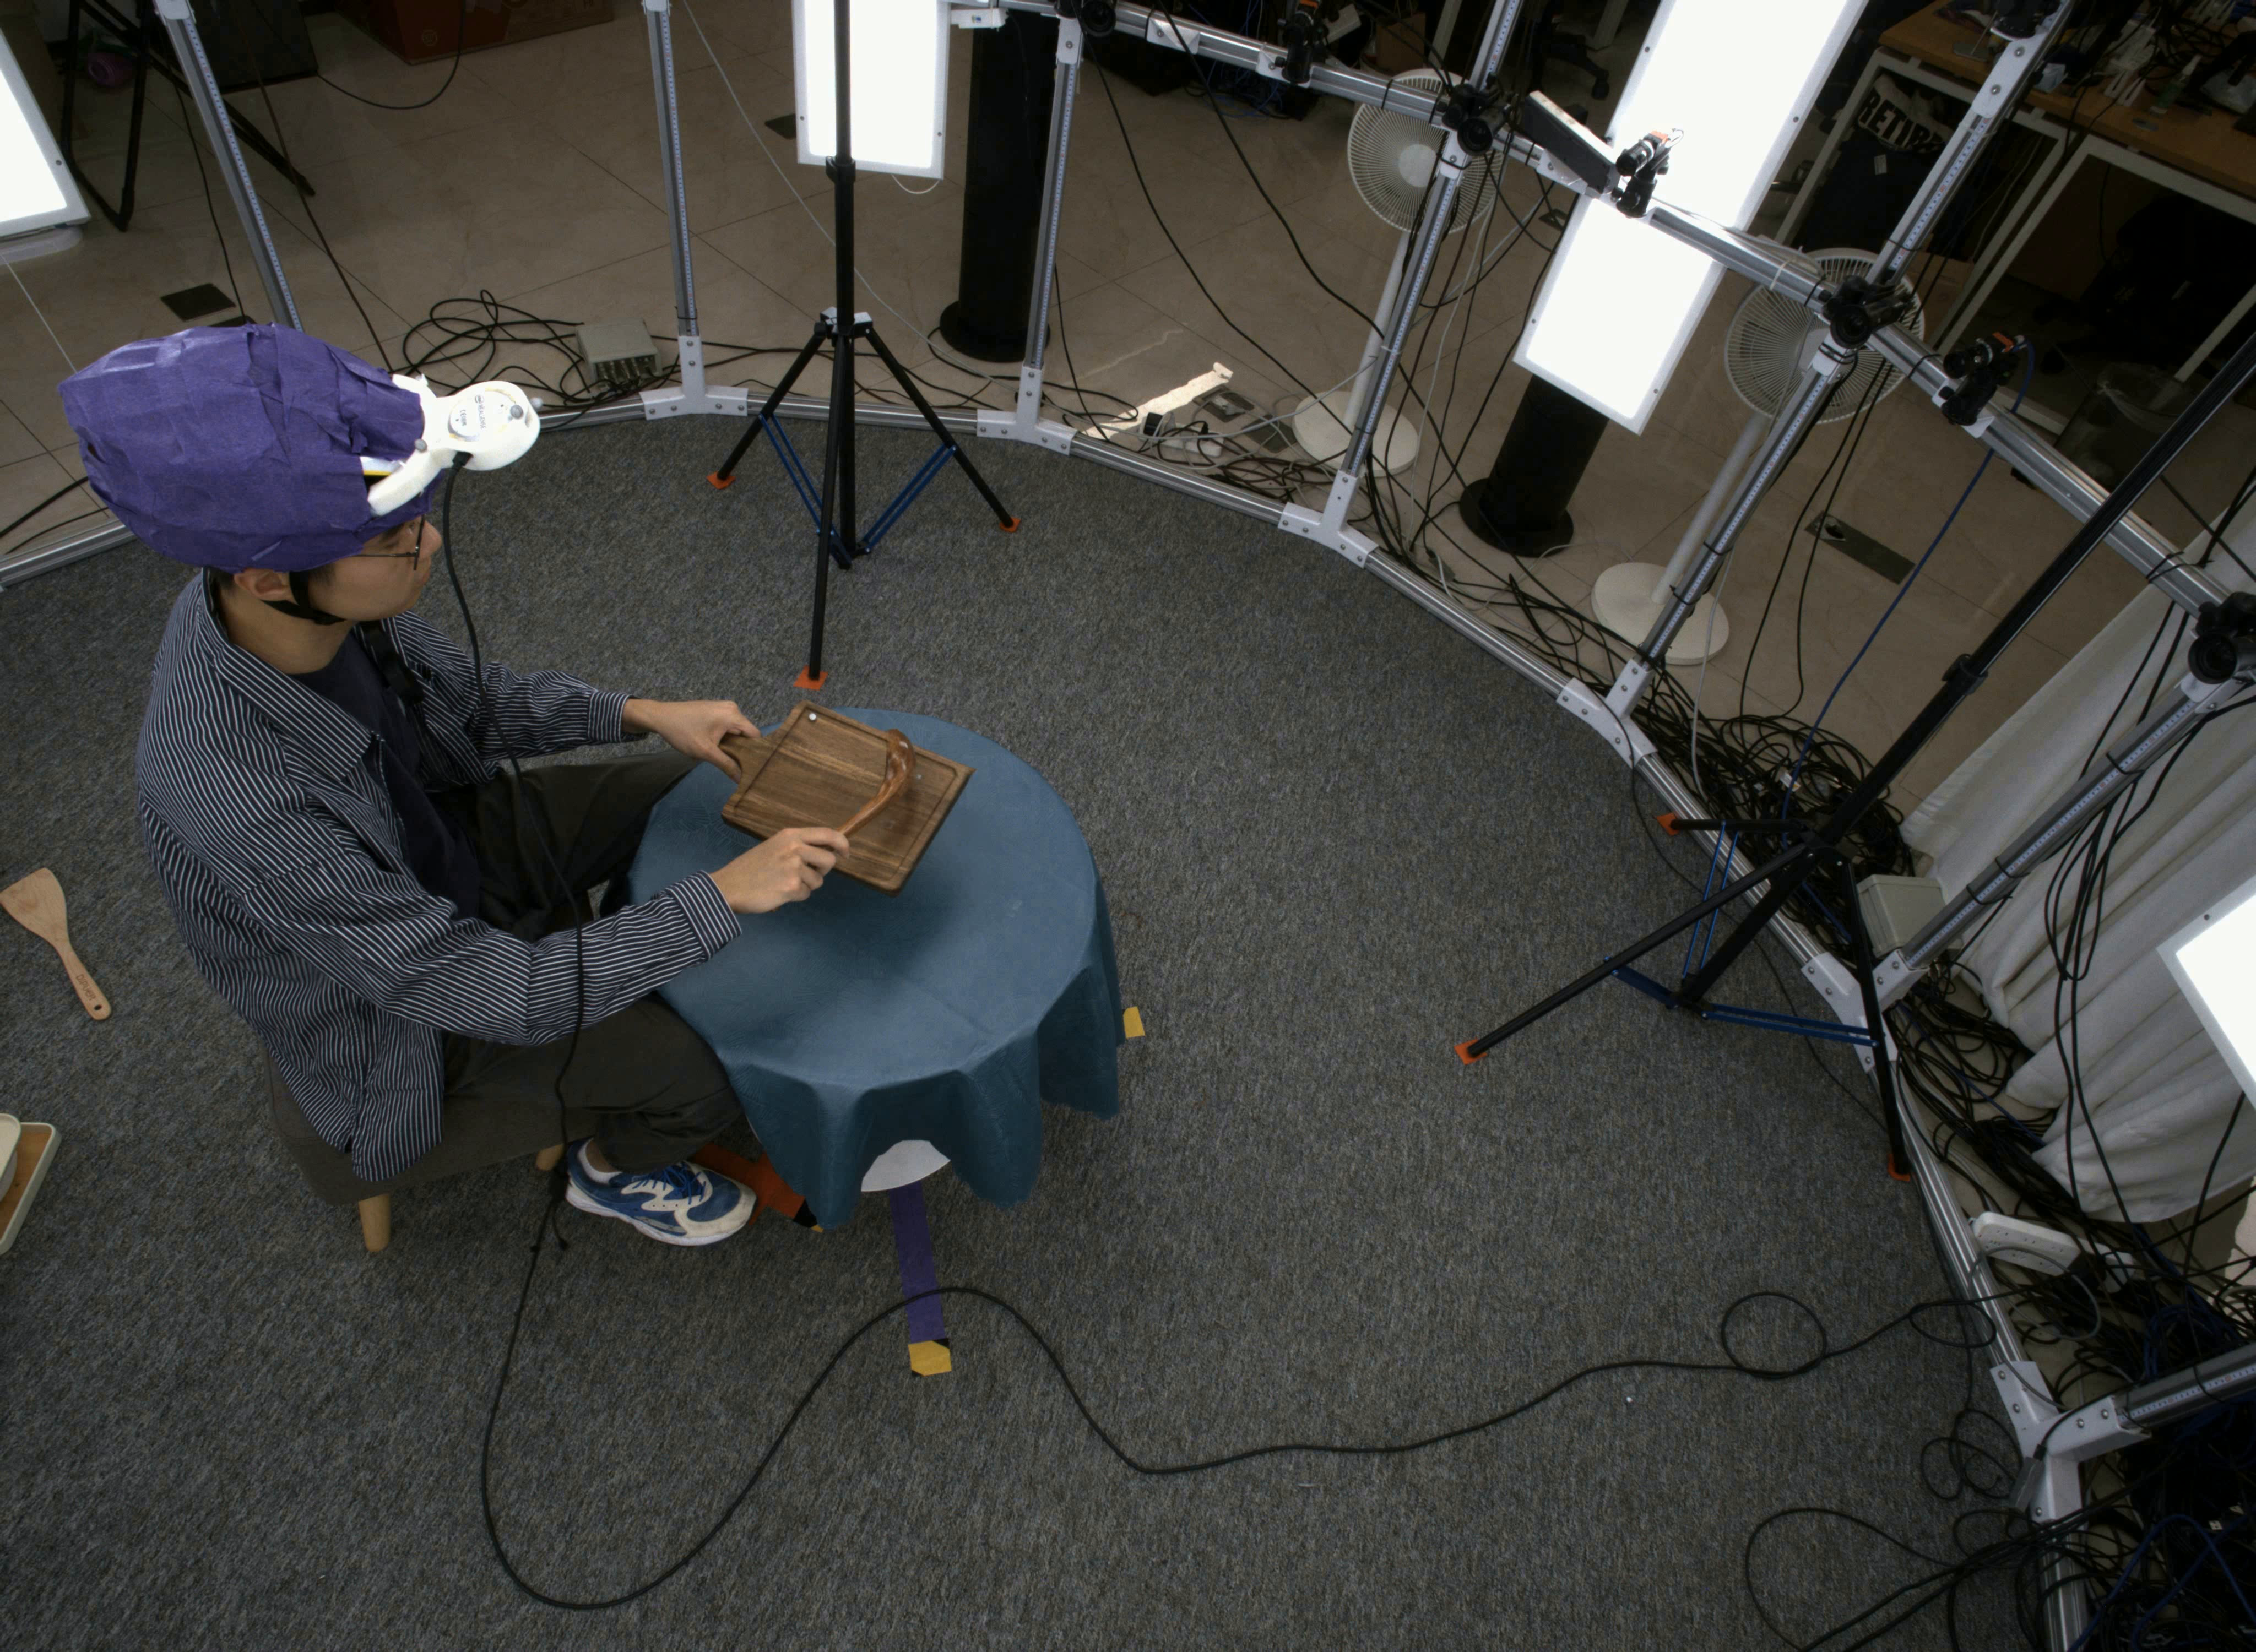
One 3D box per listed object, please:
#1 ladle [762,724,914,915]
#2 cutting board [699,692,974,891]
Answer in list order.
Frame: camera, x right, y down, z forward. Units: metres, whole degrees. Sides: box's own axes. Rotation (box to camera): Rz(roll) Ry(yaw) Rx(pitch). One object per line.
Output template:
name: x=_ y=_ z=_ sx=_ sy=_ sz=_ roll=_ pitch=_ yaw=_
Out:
ladle: x=-0.350 y=-0.014 z=1.532 sx=0.074 sy=0.085 sz=0.274 roll=29 pitch=62 yaw=29
cutting board: x=-0.389 y=-0.067 z=1.635 sx=0.346 sy=0.024 sz=0.200 roll=23 pitch=63 yaw=8
